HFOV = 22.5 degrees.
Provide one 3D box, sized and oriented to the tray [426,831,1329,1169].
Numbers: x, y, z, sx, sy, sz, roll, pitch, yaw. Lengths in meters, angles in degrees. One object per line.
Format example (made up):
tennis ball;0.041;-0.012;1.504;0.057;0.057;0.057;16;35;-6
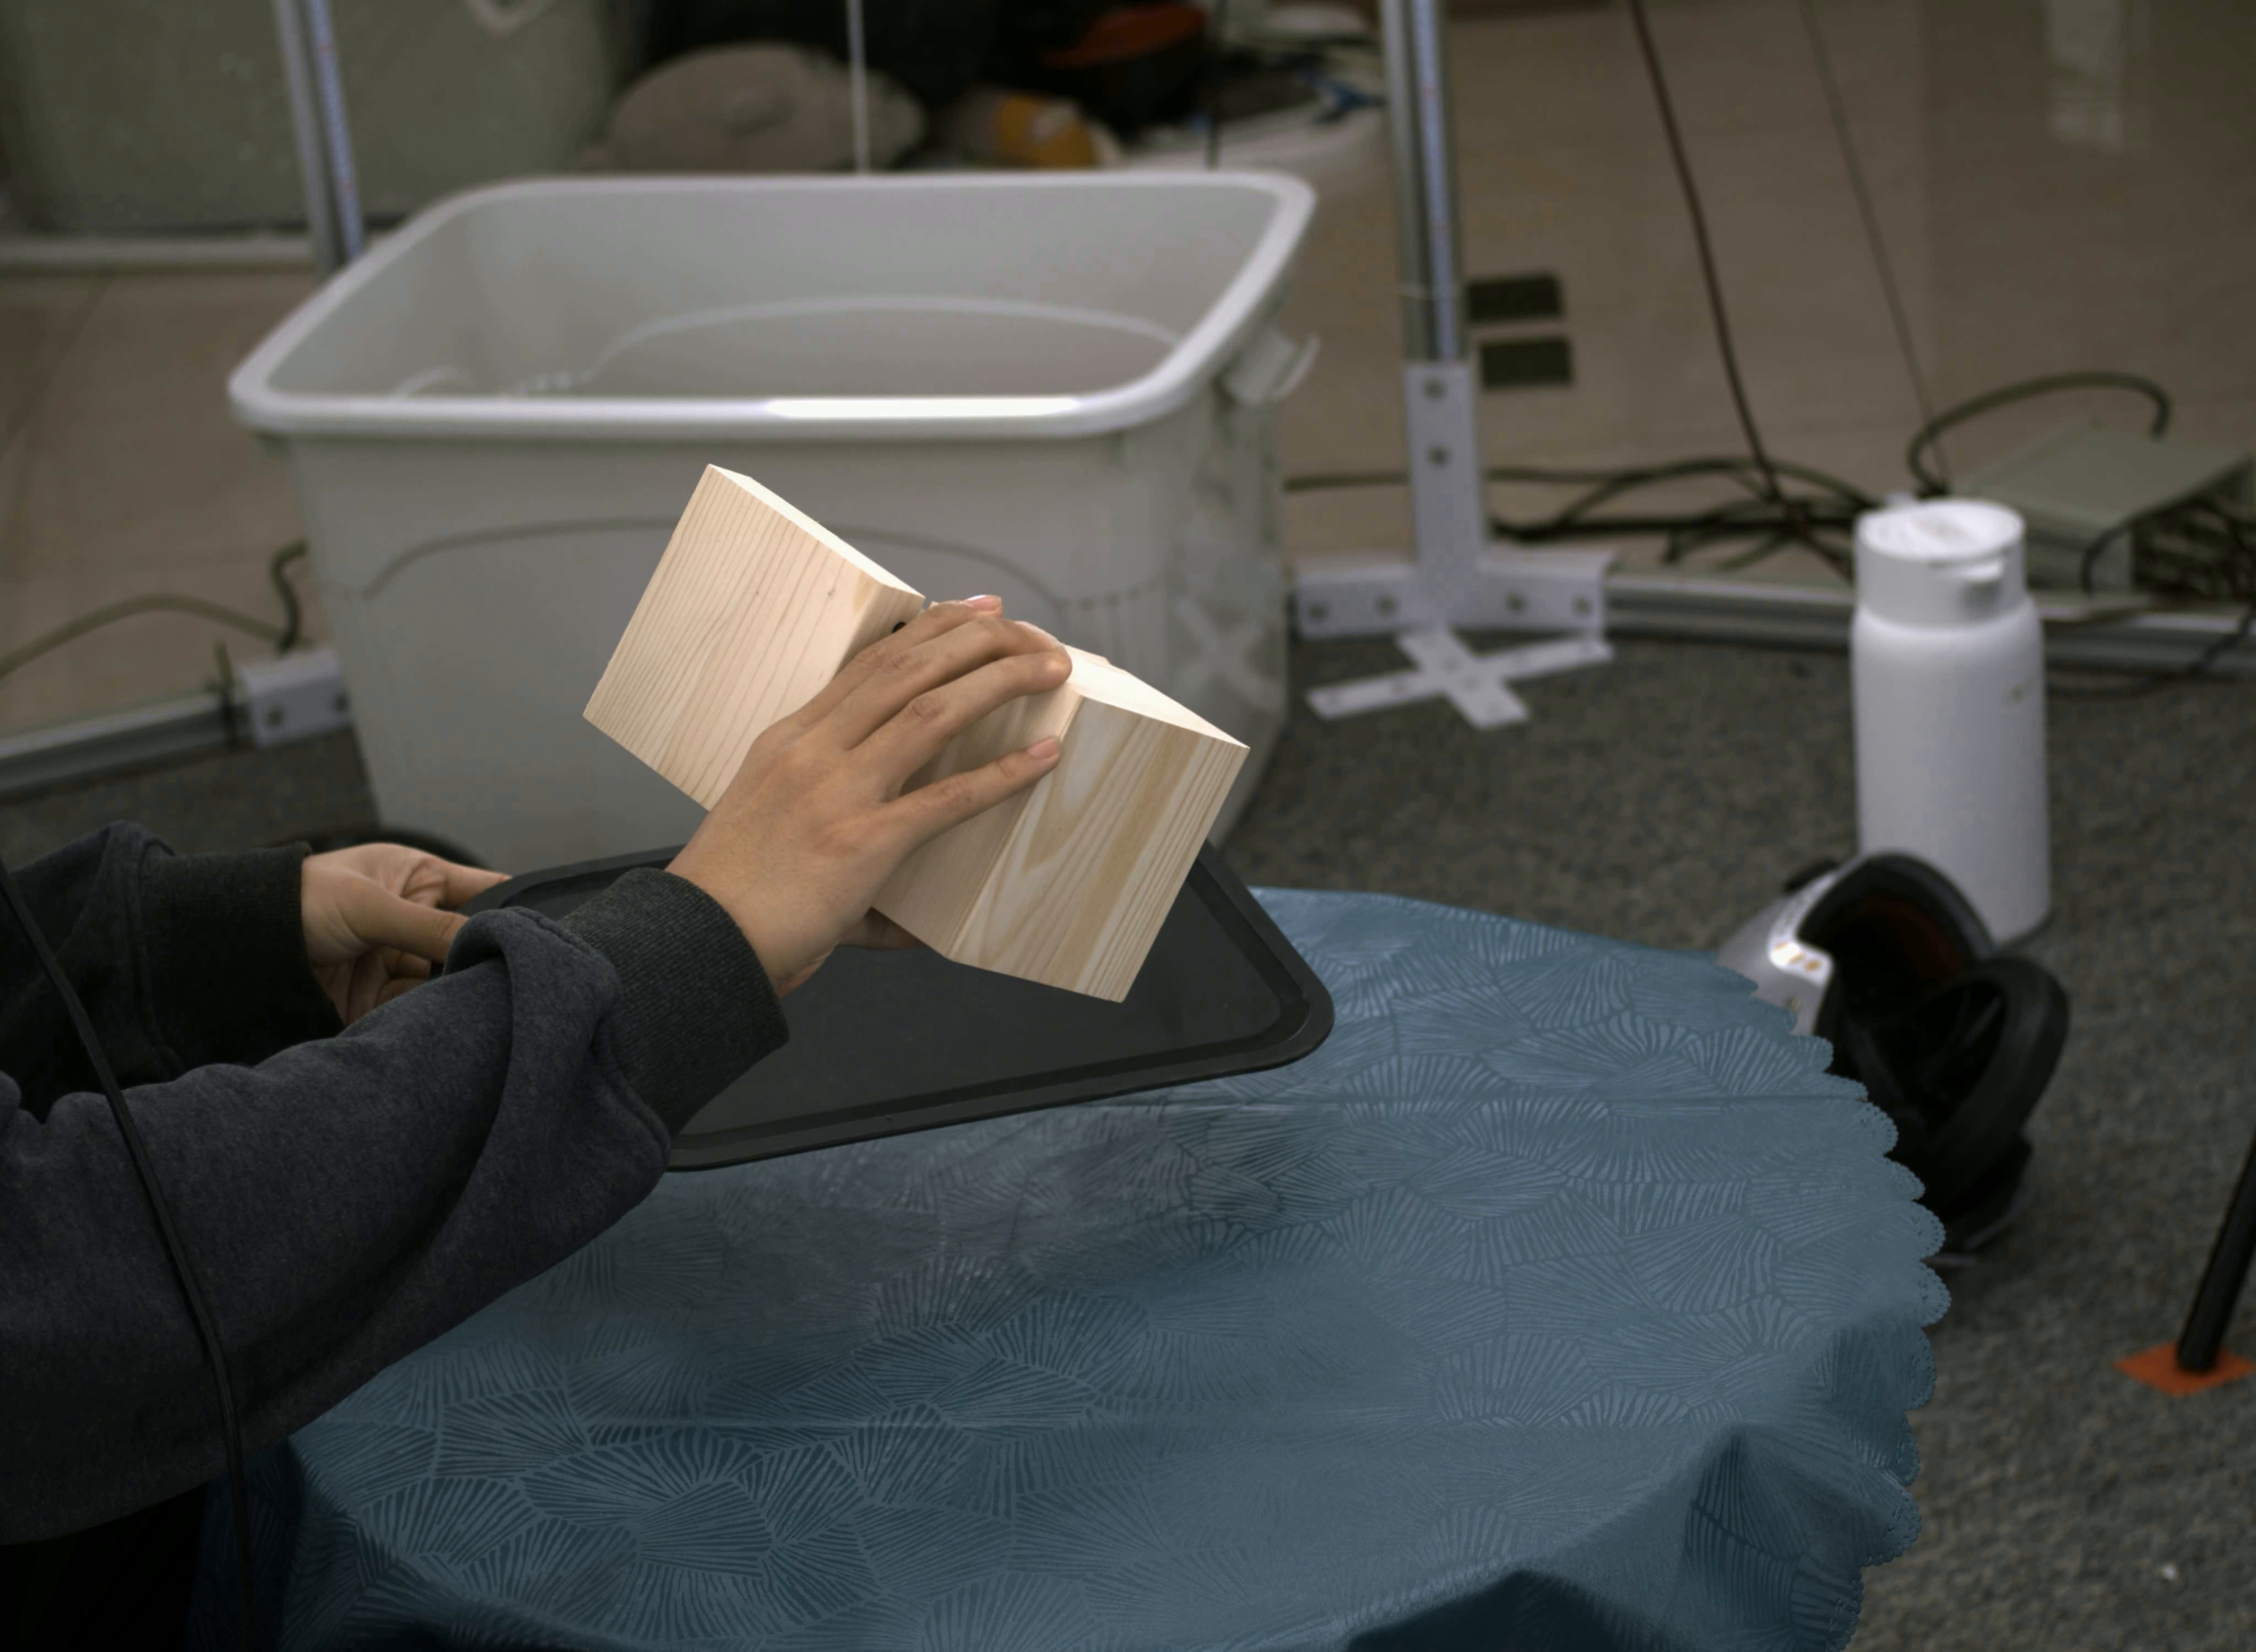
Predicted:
tray;-0.099;0.053;2.121;0.324;0.010;0.208;-9;34;-21

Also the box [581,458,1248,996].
box;-0.075;-0.035;1.975;0.182;0.103;0.134;35;12;34
